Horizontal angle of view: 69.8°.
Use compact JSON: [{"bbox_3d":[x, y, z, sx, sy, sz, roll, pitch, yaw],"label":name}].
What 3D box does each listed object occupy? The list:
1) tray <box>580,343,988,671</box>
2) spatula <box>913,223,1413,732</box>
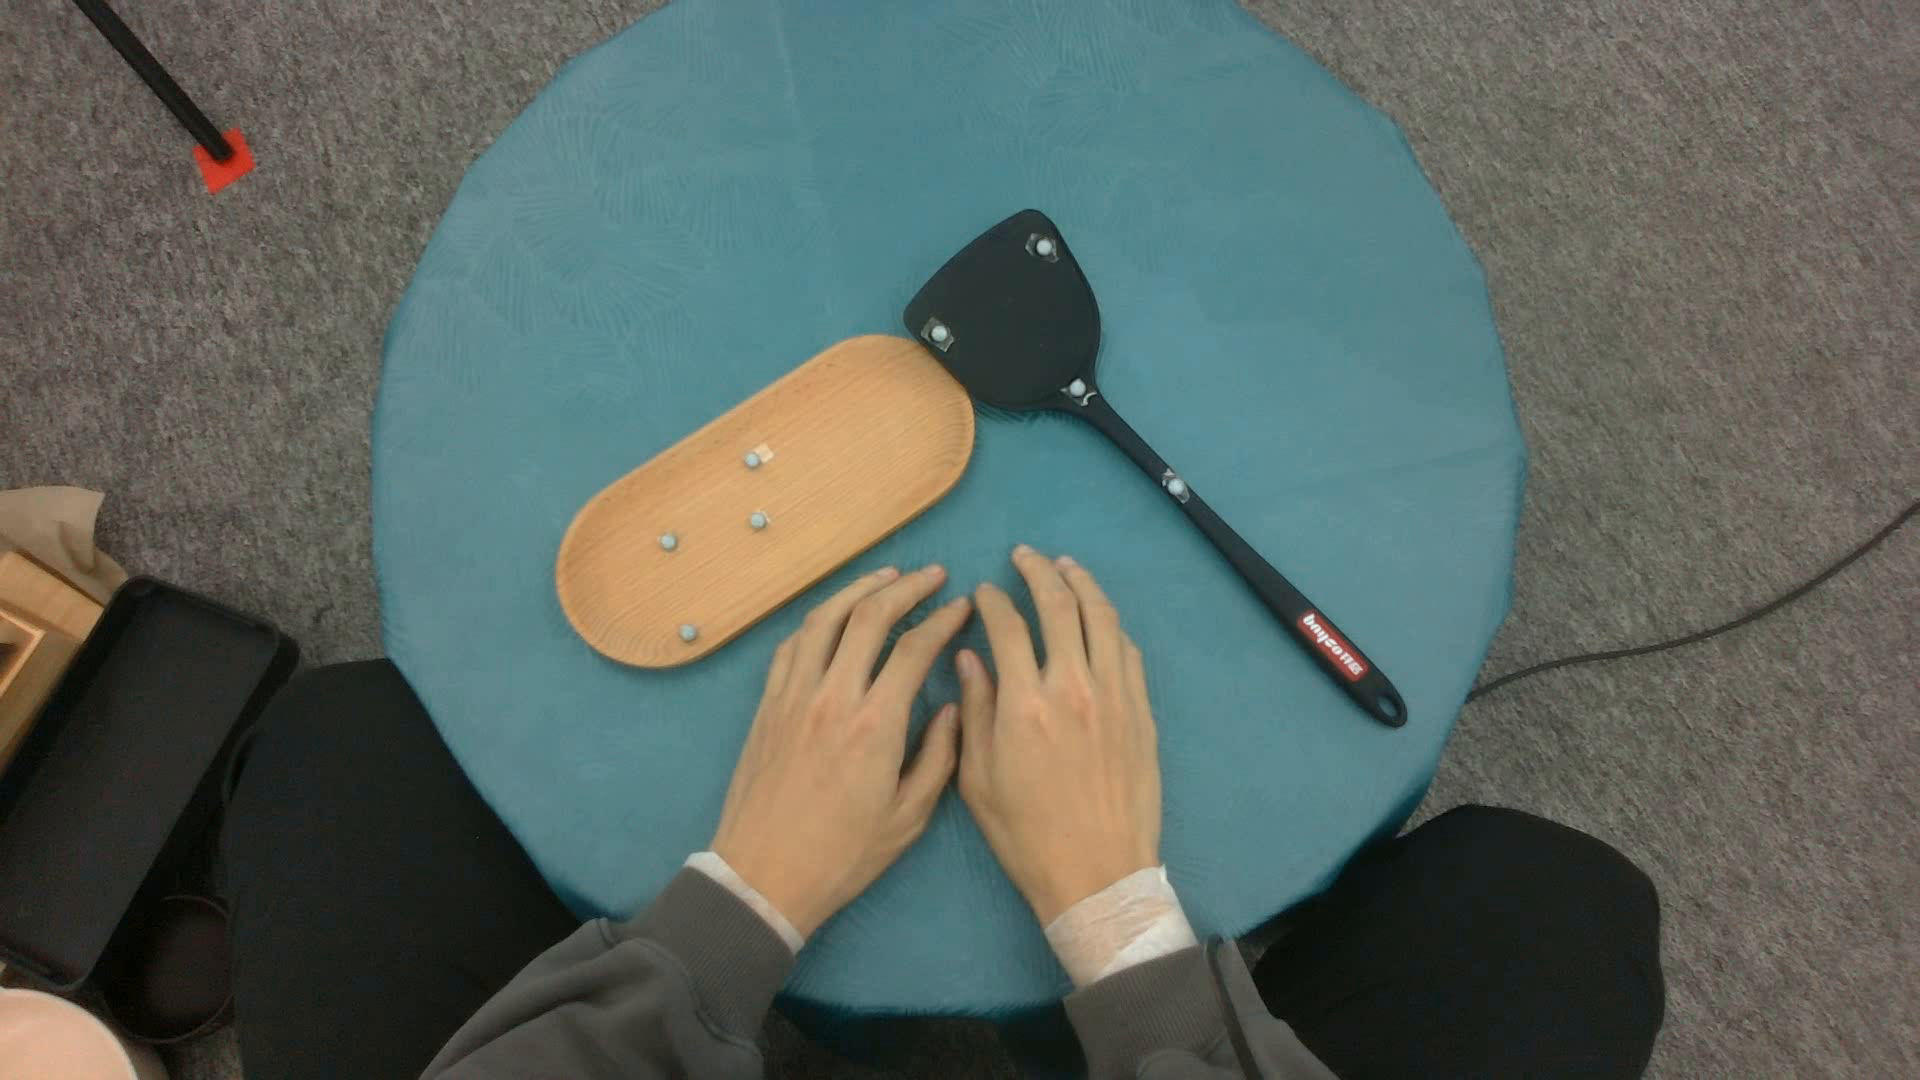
[{"bbox_3d":[-0.089,-0.019,0.717,0.231,0.020,0.102,-34,77,-11],"label":"tray"},{"bbox_3d":[0.114,-0.025,0.708,0.100,0.040,0.326,-41,77,-10],"label":"spatula"}]
